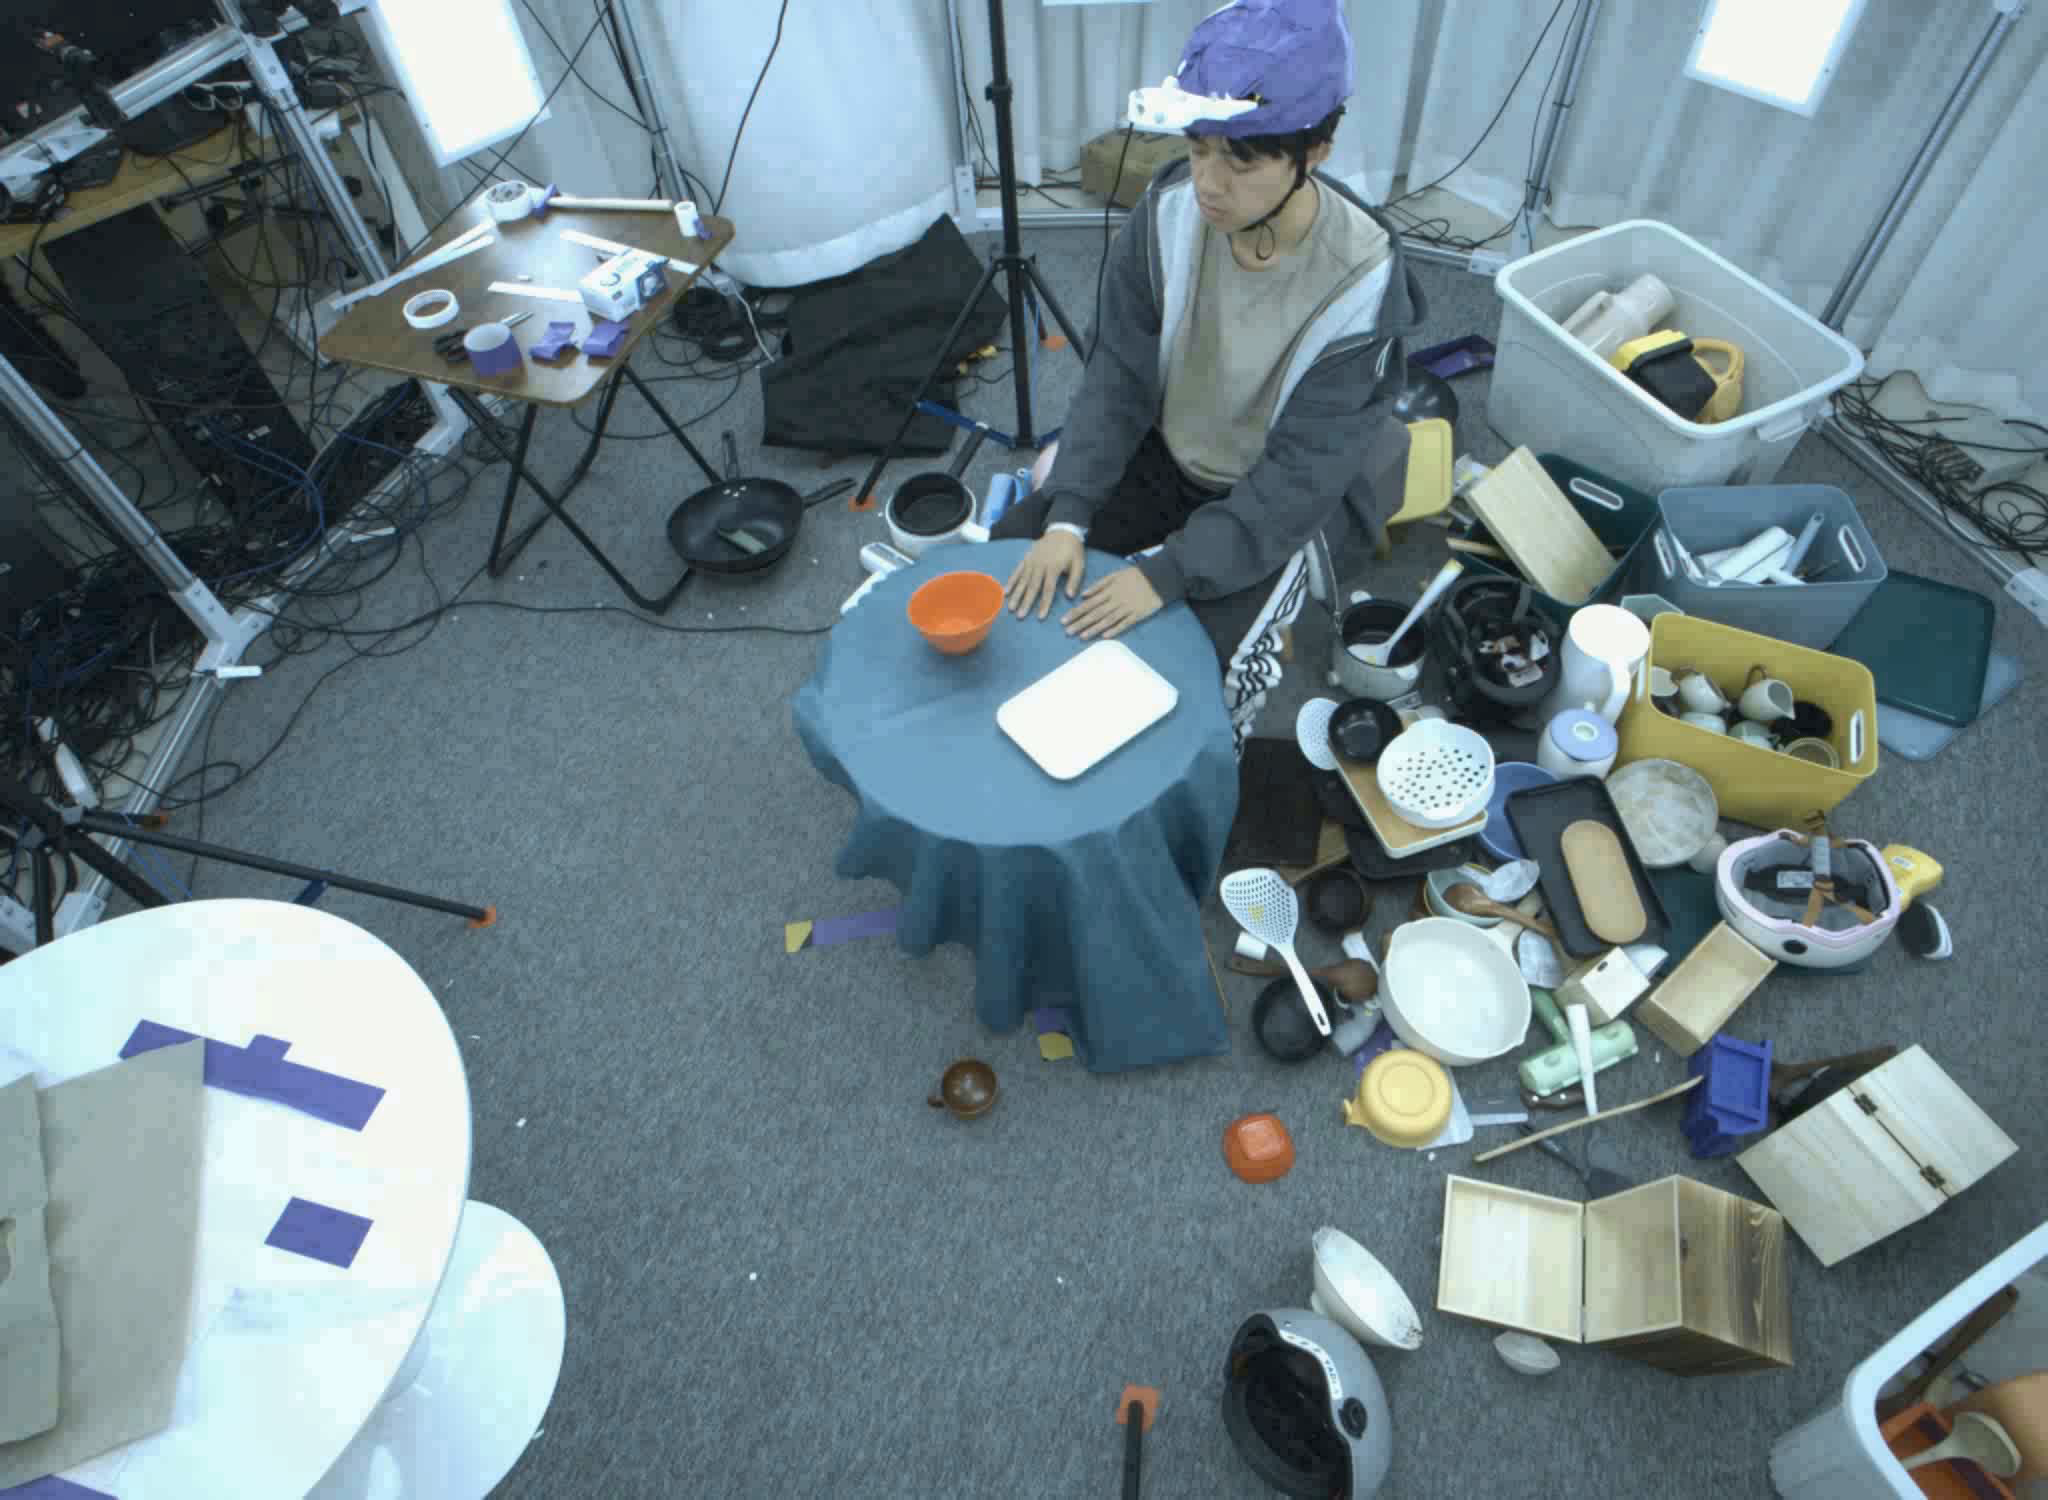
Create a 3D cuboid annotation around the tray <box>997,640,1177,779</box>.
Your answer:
[{"bbox_3d":[0.094,-0.061,1.820,0.241,0.017,0.168,-35,60,-21],"label":"tray"}]

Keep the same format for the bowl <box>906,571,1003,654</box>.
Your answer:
[{"bbox_3d":[-0.102,-0.197,1.871,0.148,0.106,0.146,-1,55,3],"label":"bowl"}]
